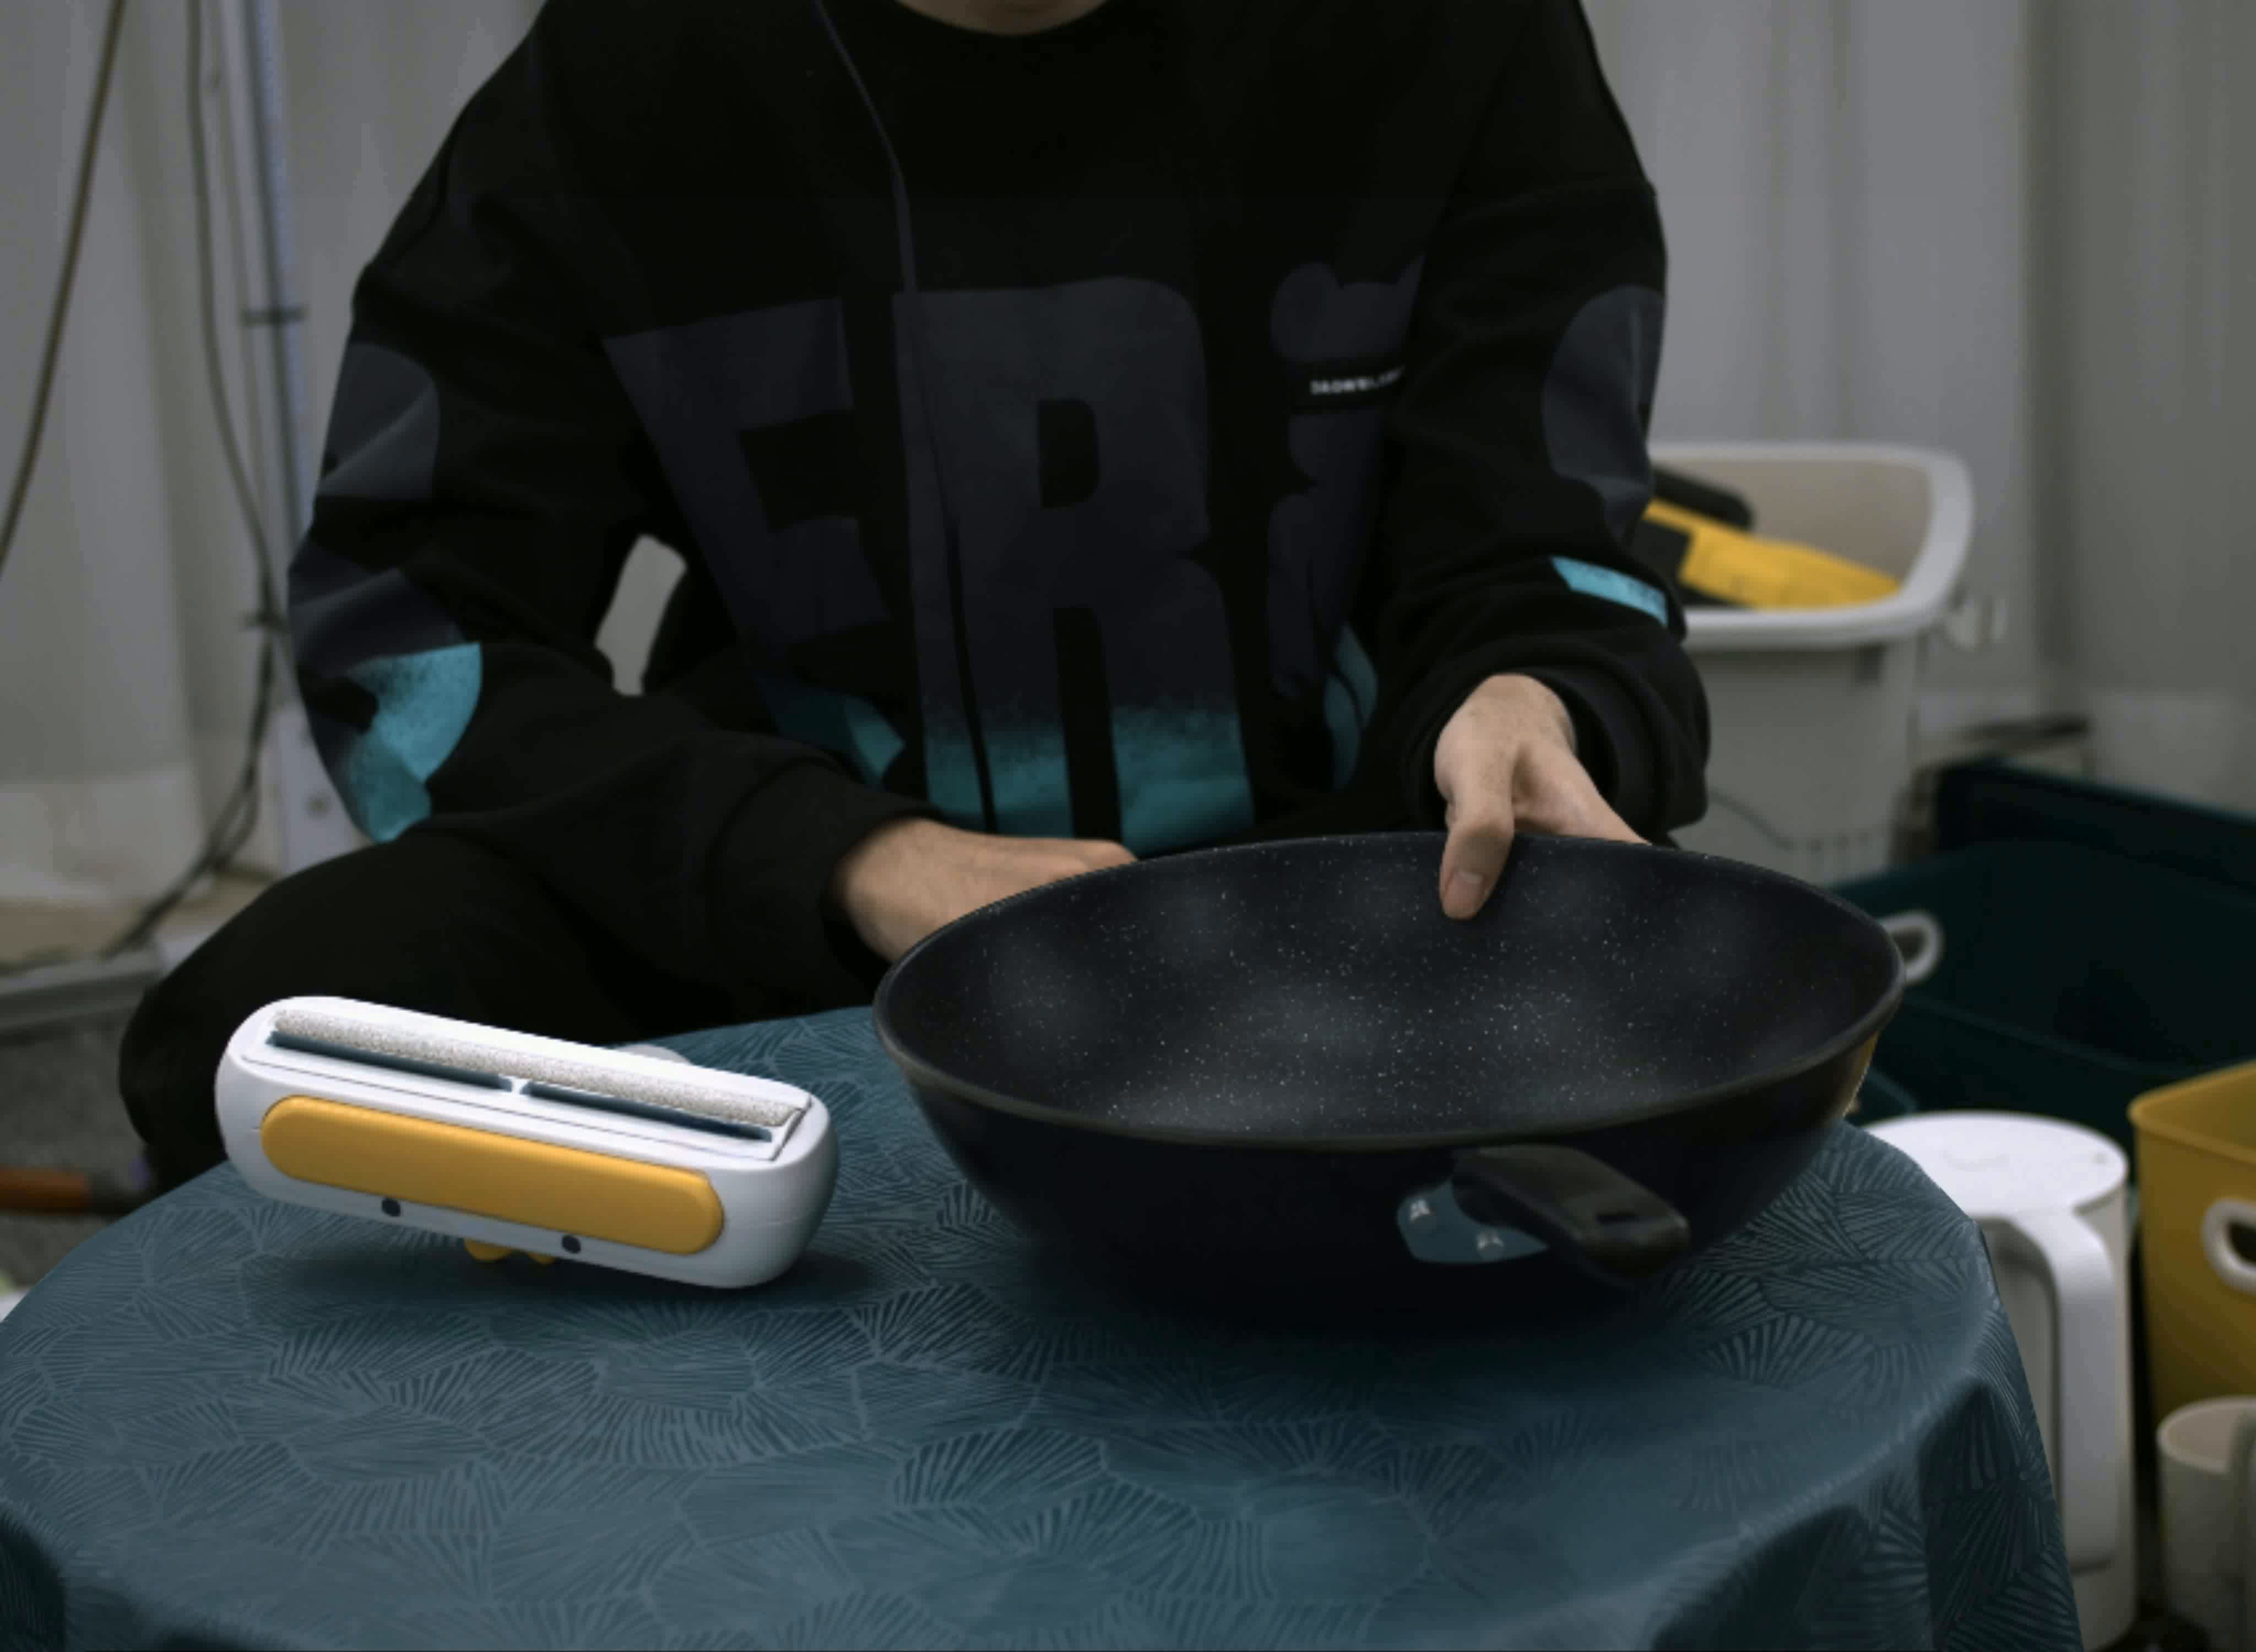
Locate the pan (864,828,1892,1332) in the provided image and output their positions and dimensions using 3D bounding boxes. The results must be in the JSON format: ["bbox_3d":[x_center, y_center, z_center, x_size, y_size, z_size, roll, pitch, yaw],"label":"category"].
[{"bbox_3d":[0.089,0.093,1.570,0.309,0.111,0.480,-7,15,-8],"label":"pan"}]

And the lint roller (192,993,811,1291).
[{"bbox_3d":[-0.174,0.088,1.720,0.193,0.074,0.193,7,15,15],"label":"lint roller"}]
